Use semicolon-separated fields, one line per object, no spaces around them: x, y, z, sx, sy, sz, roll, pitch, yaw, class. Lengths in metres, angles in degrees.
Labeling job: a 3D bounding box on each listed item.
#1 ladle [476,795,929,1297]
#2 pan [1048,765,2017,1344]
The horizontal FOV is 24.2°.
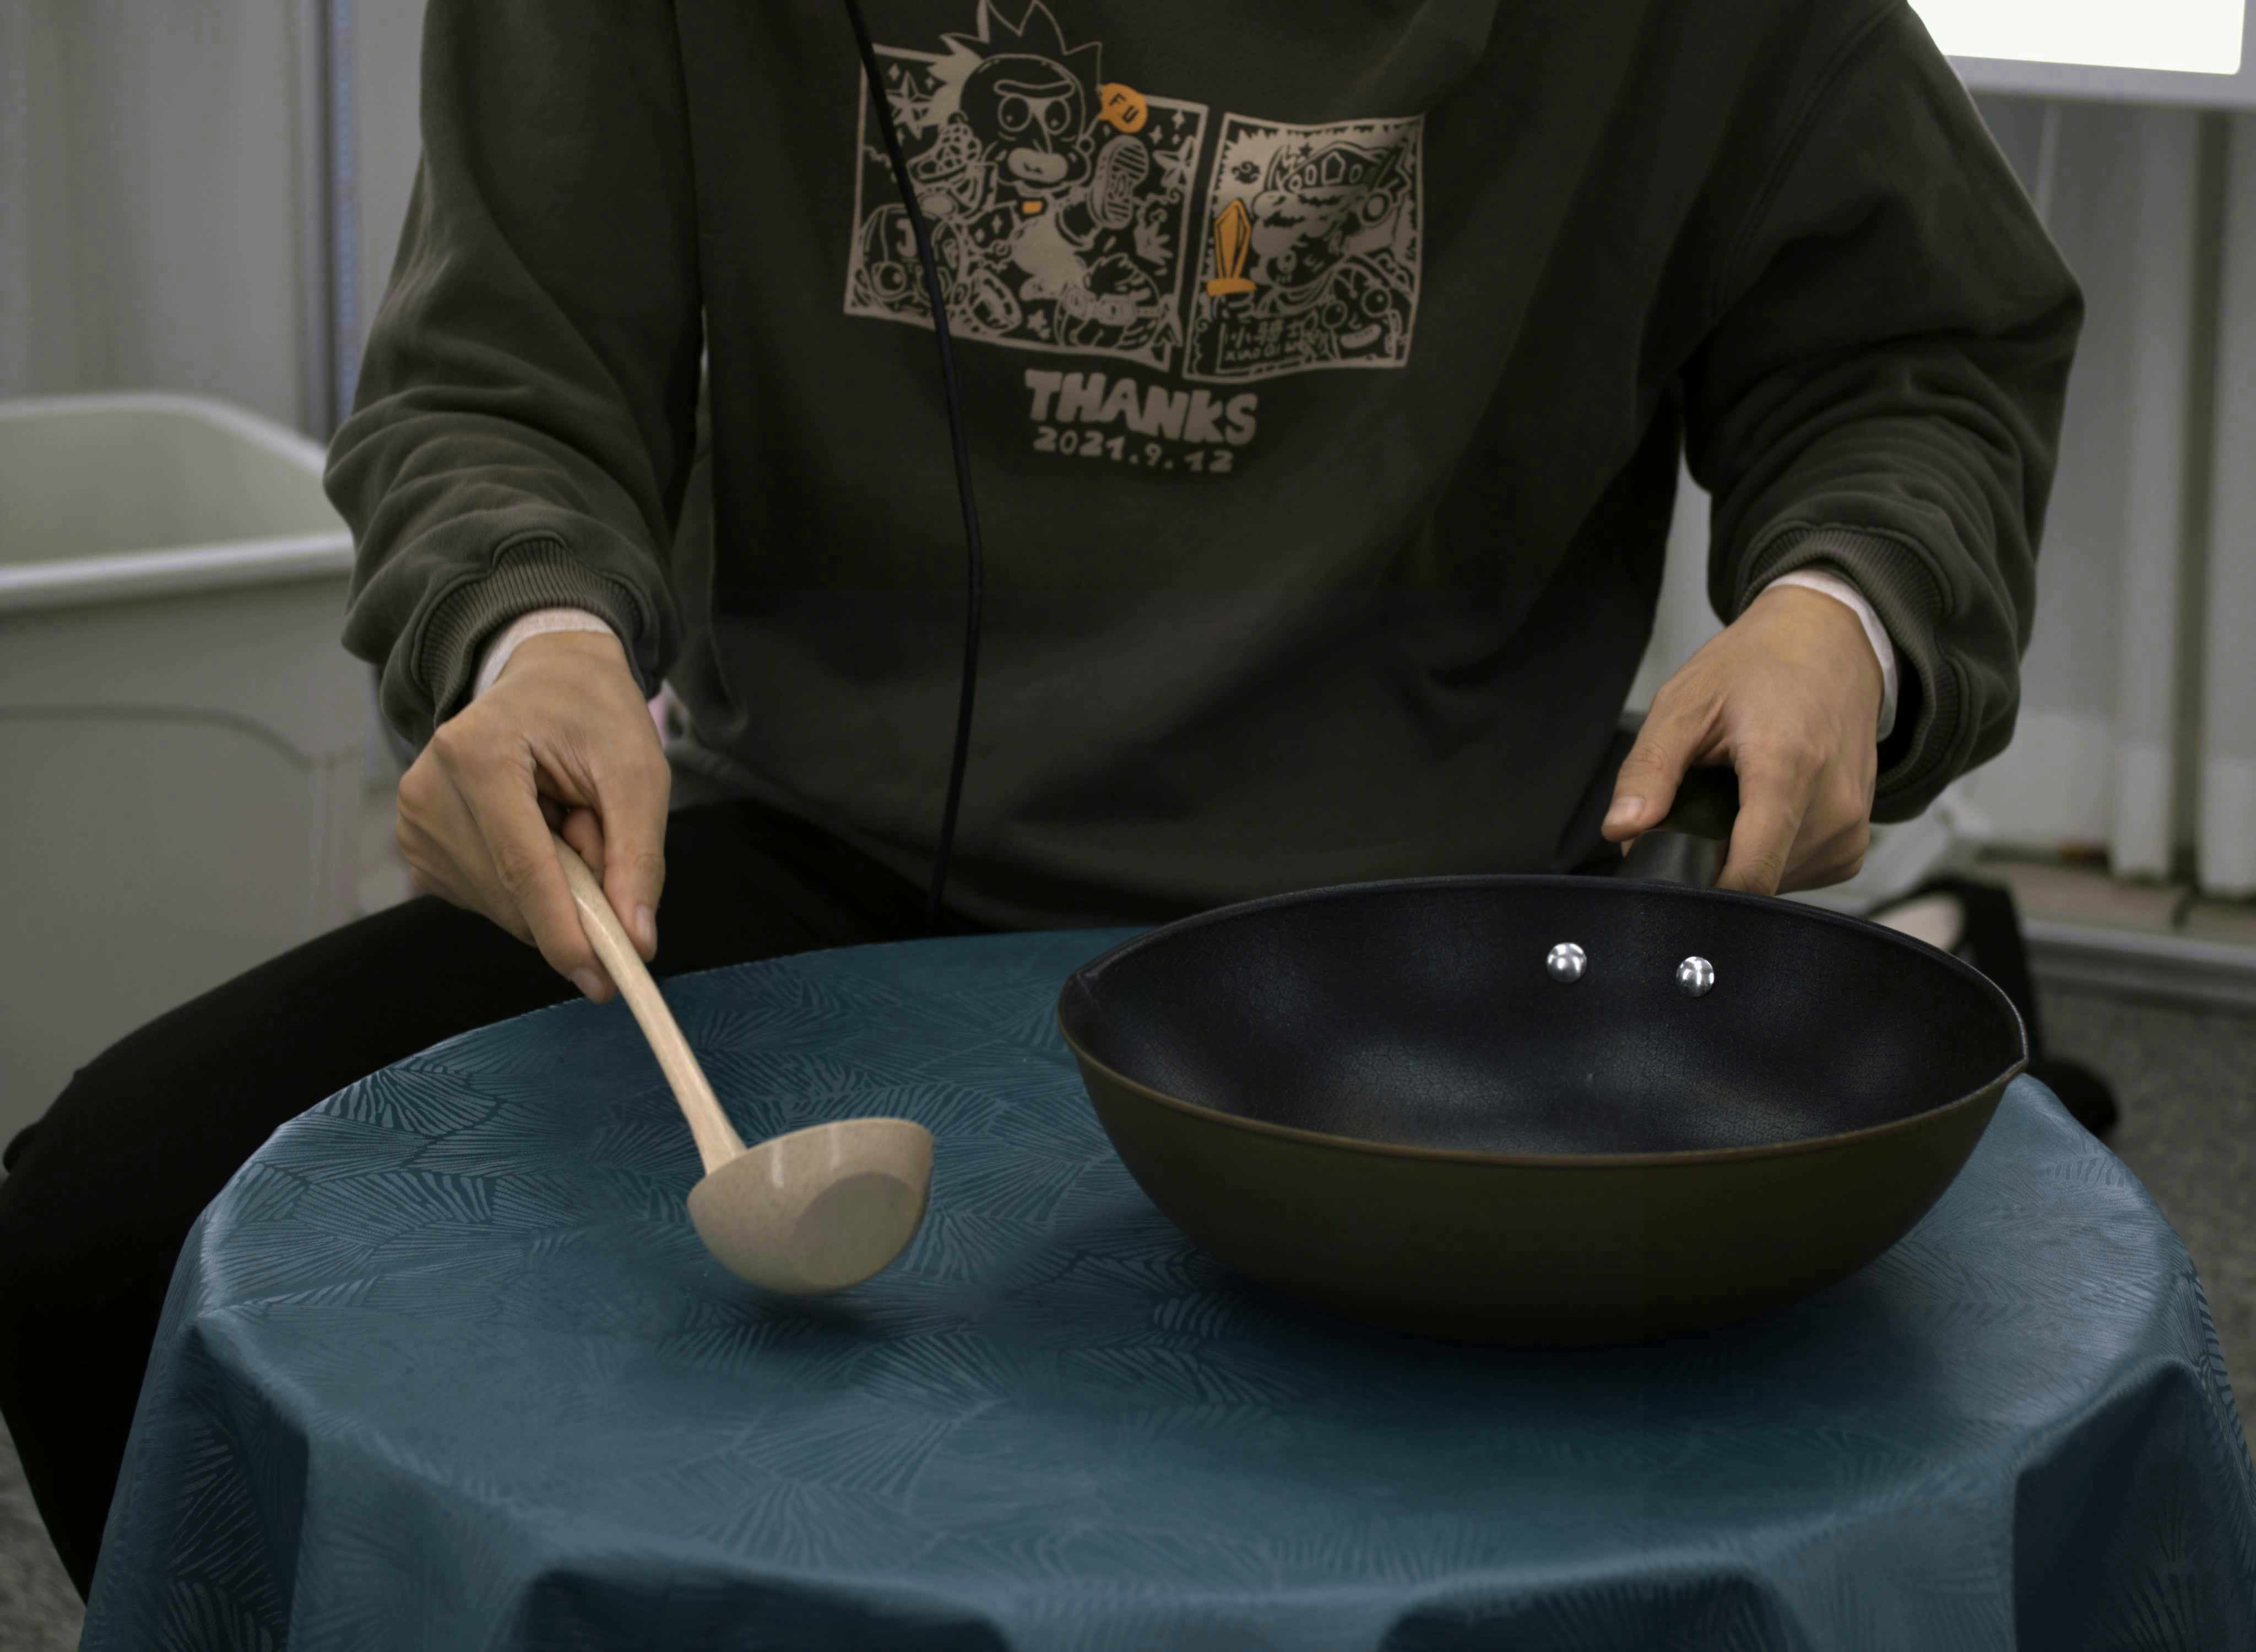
-0.136;0.041;1.567;0.072;0.073;0.251;-7;42;-30;ladle
0.145;0.068;1.642;0.285;0.087;0.463;5;15;17;pan
